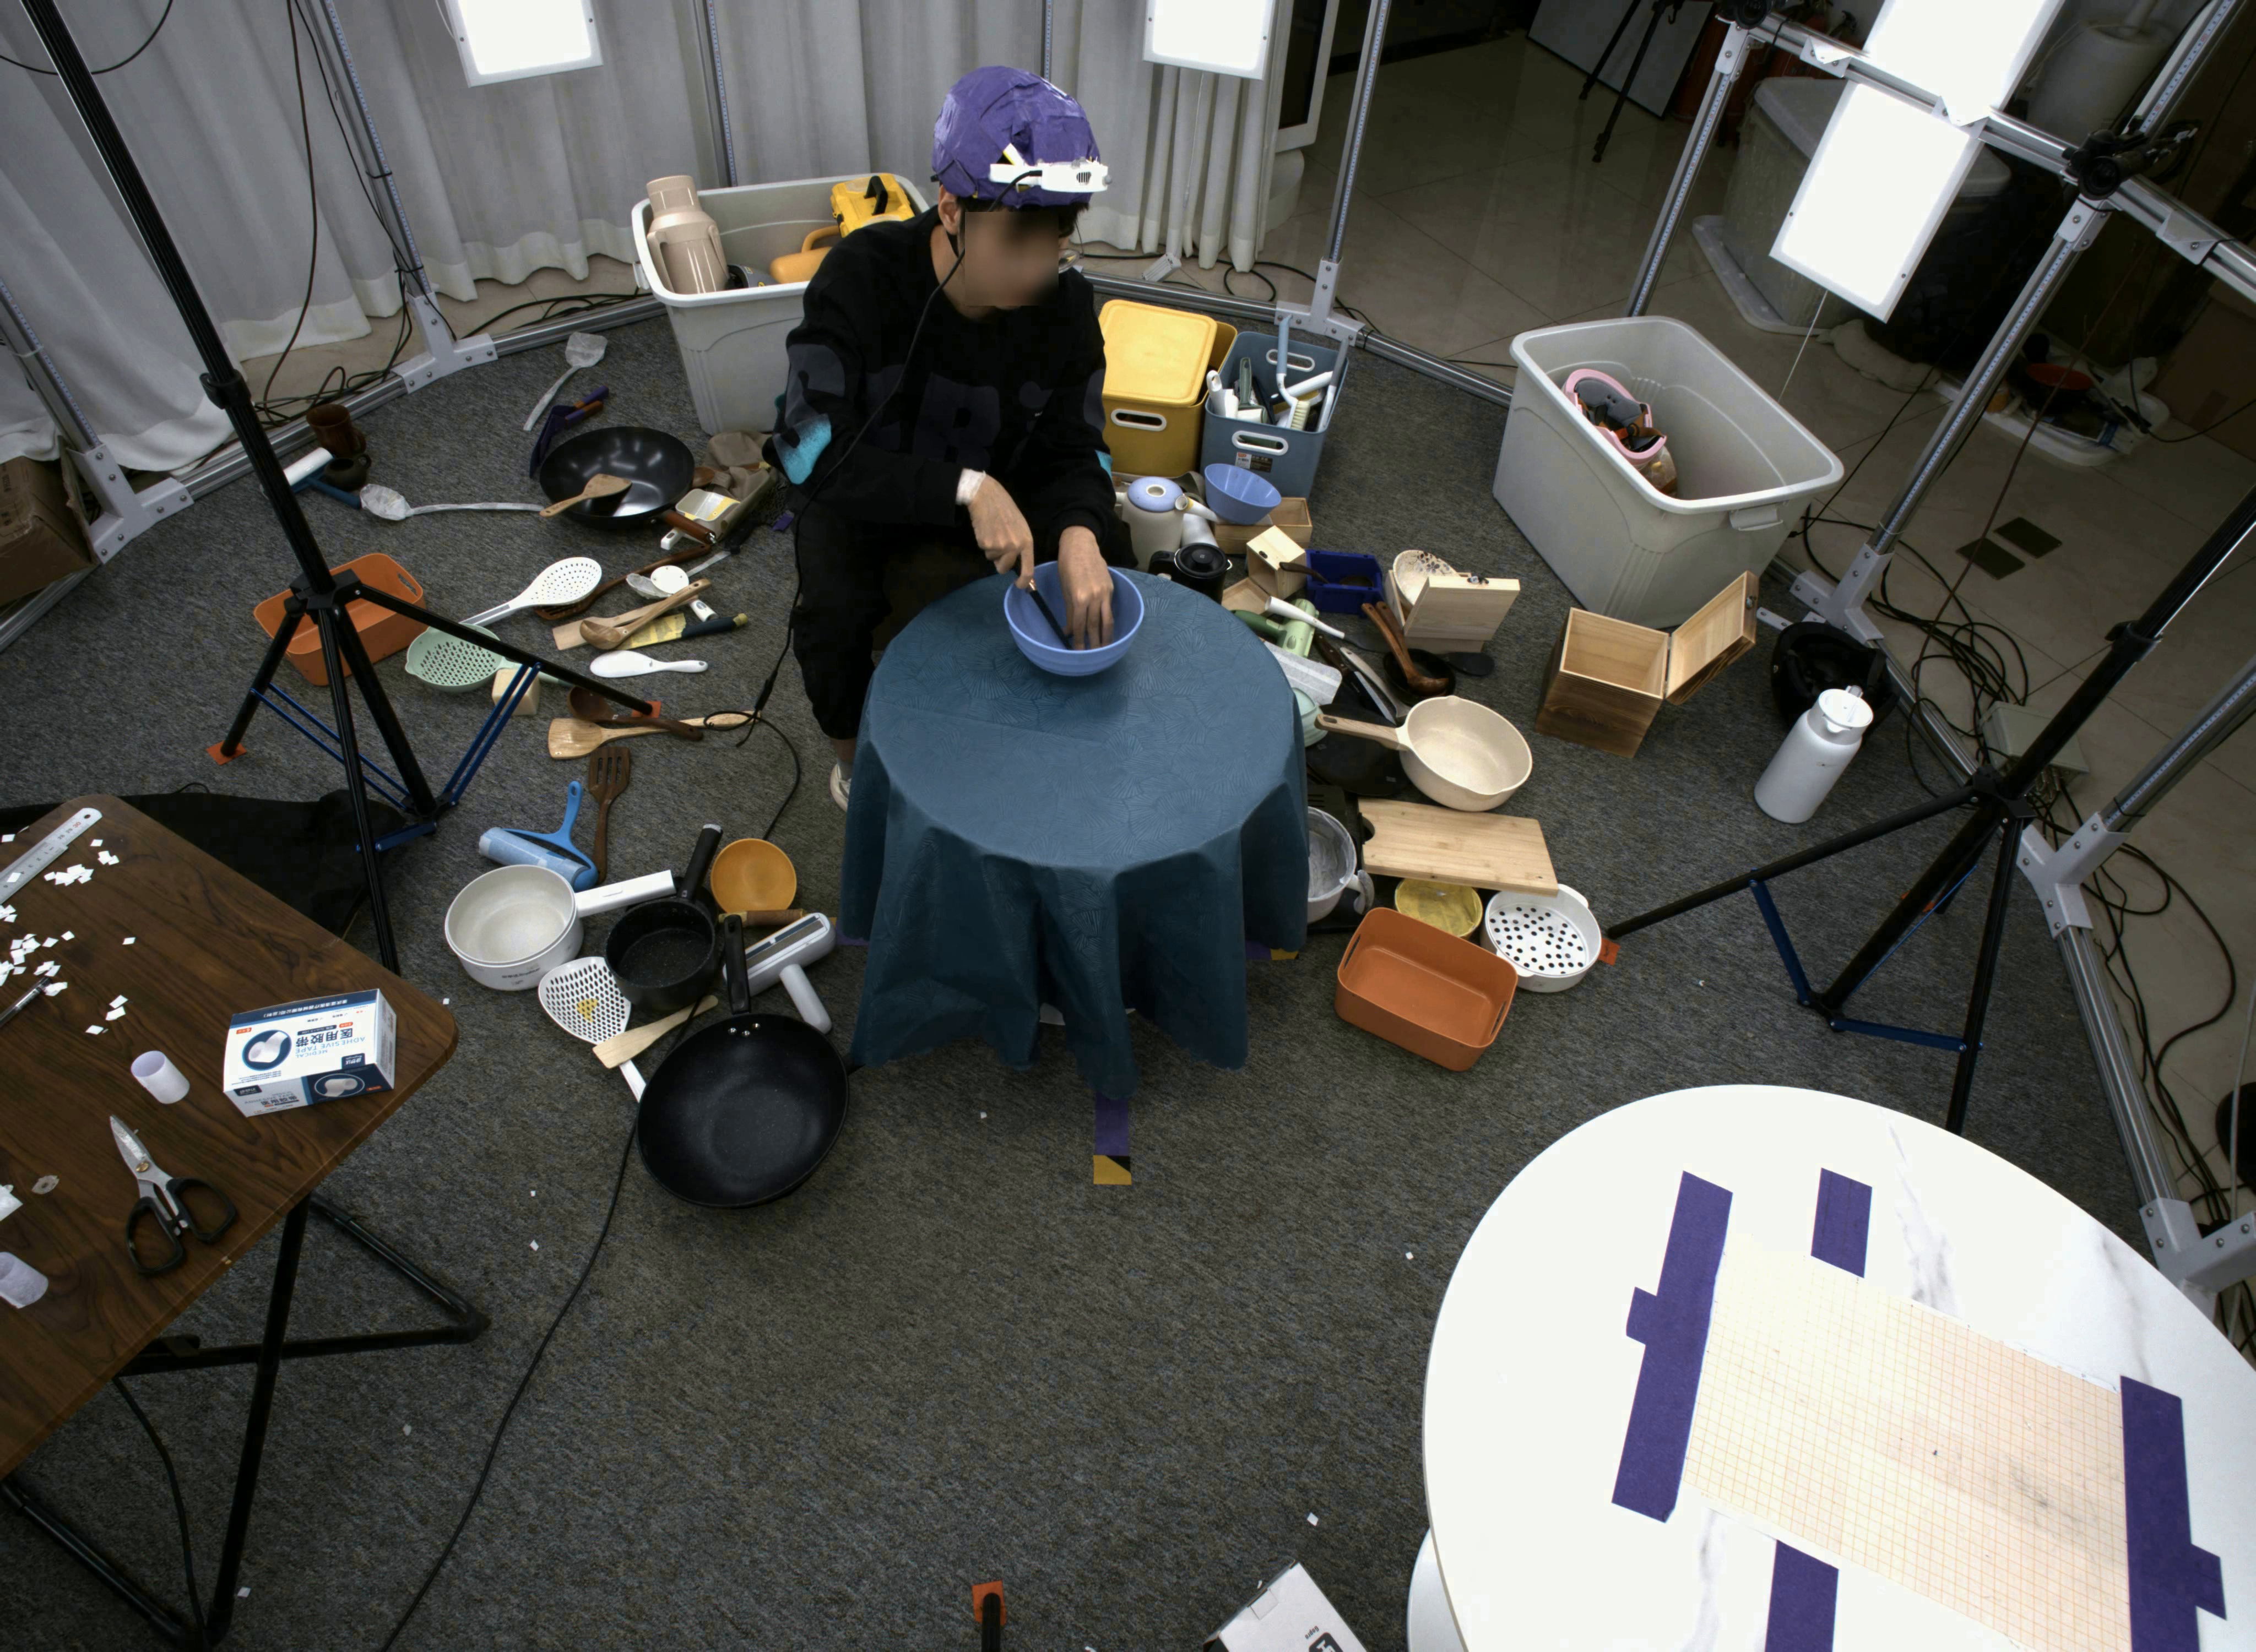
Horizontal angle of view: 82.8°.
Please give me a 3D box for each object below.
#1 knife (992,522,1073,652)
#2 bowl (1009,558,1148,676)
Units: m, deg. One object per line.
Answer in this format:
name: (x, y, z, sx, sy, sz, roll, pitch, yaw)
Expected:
knife: (-0.130, -0.332, 1.837, 0.017, 0.026, 0.223, -42, 107, -35)
bowl: (-0.074, -0.285, 1.846, 0.196, 0.093, 0.201, 3, 51, -4)
